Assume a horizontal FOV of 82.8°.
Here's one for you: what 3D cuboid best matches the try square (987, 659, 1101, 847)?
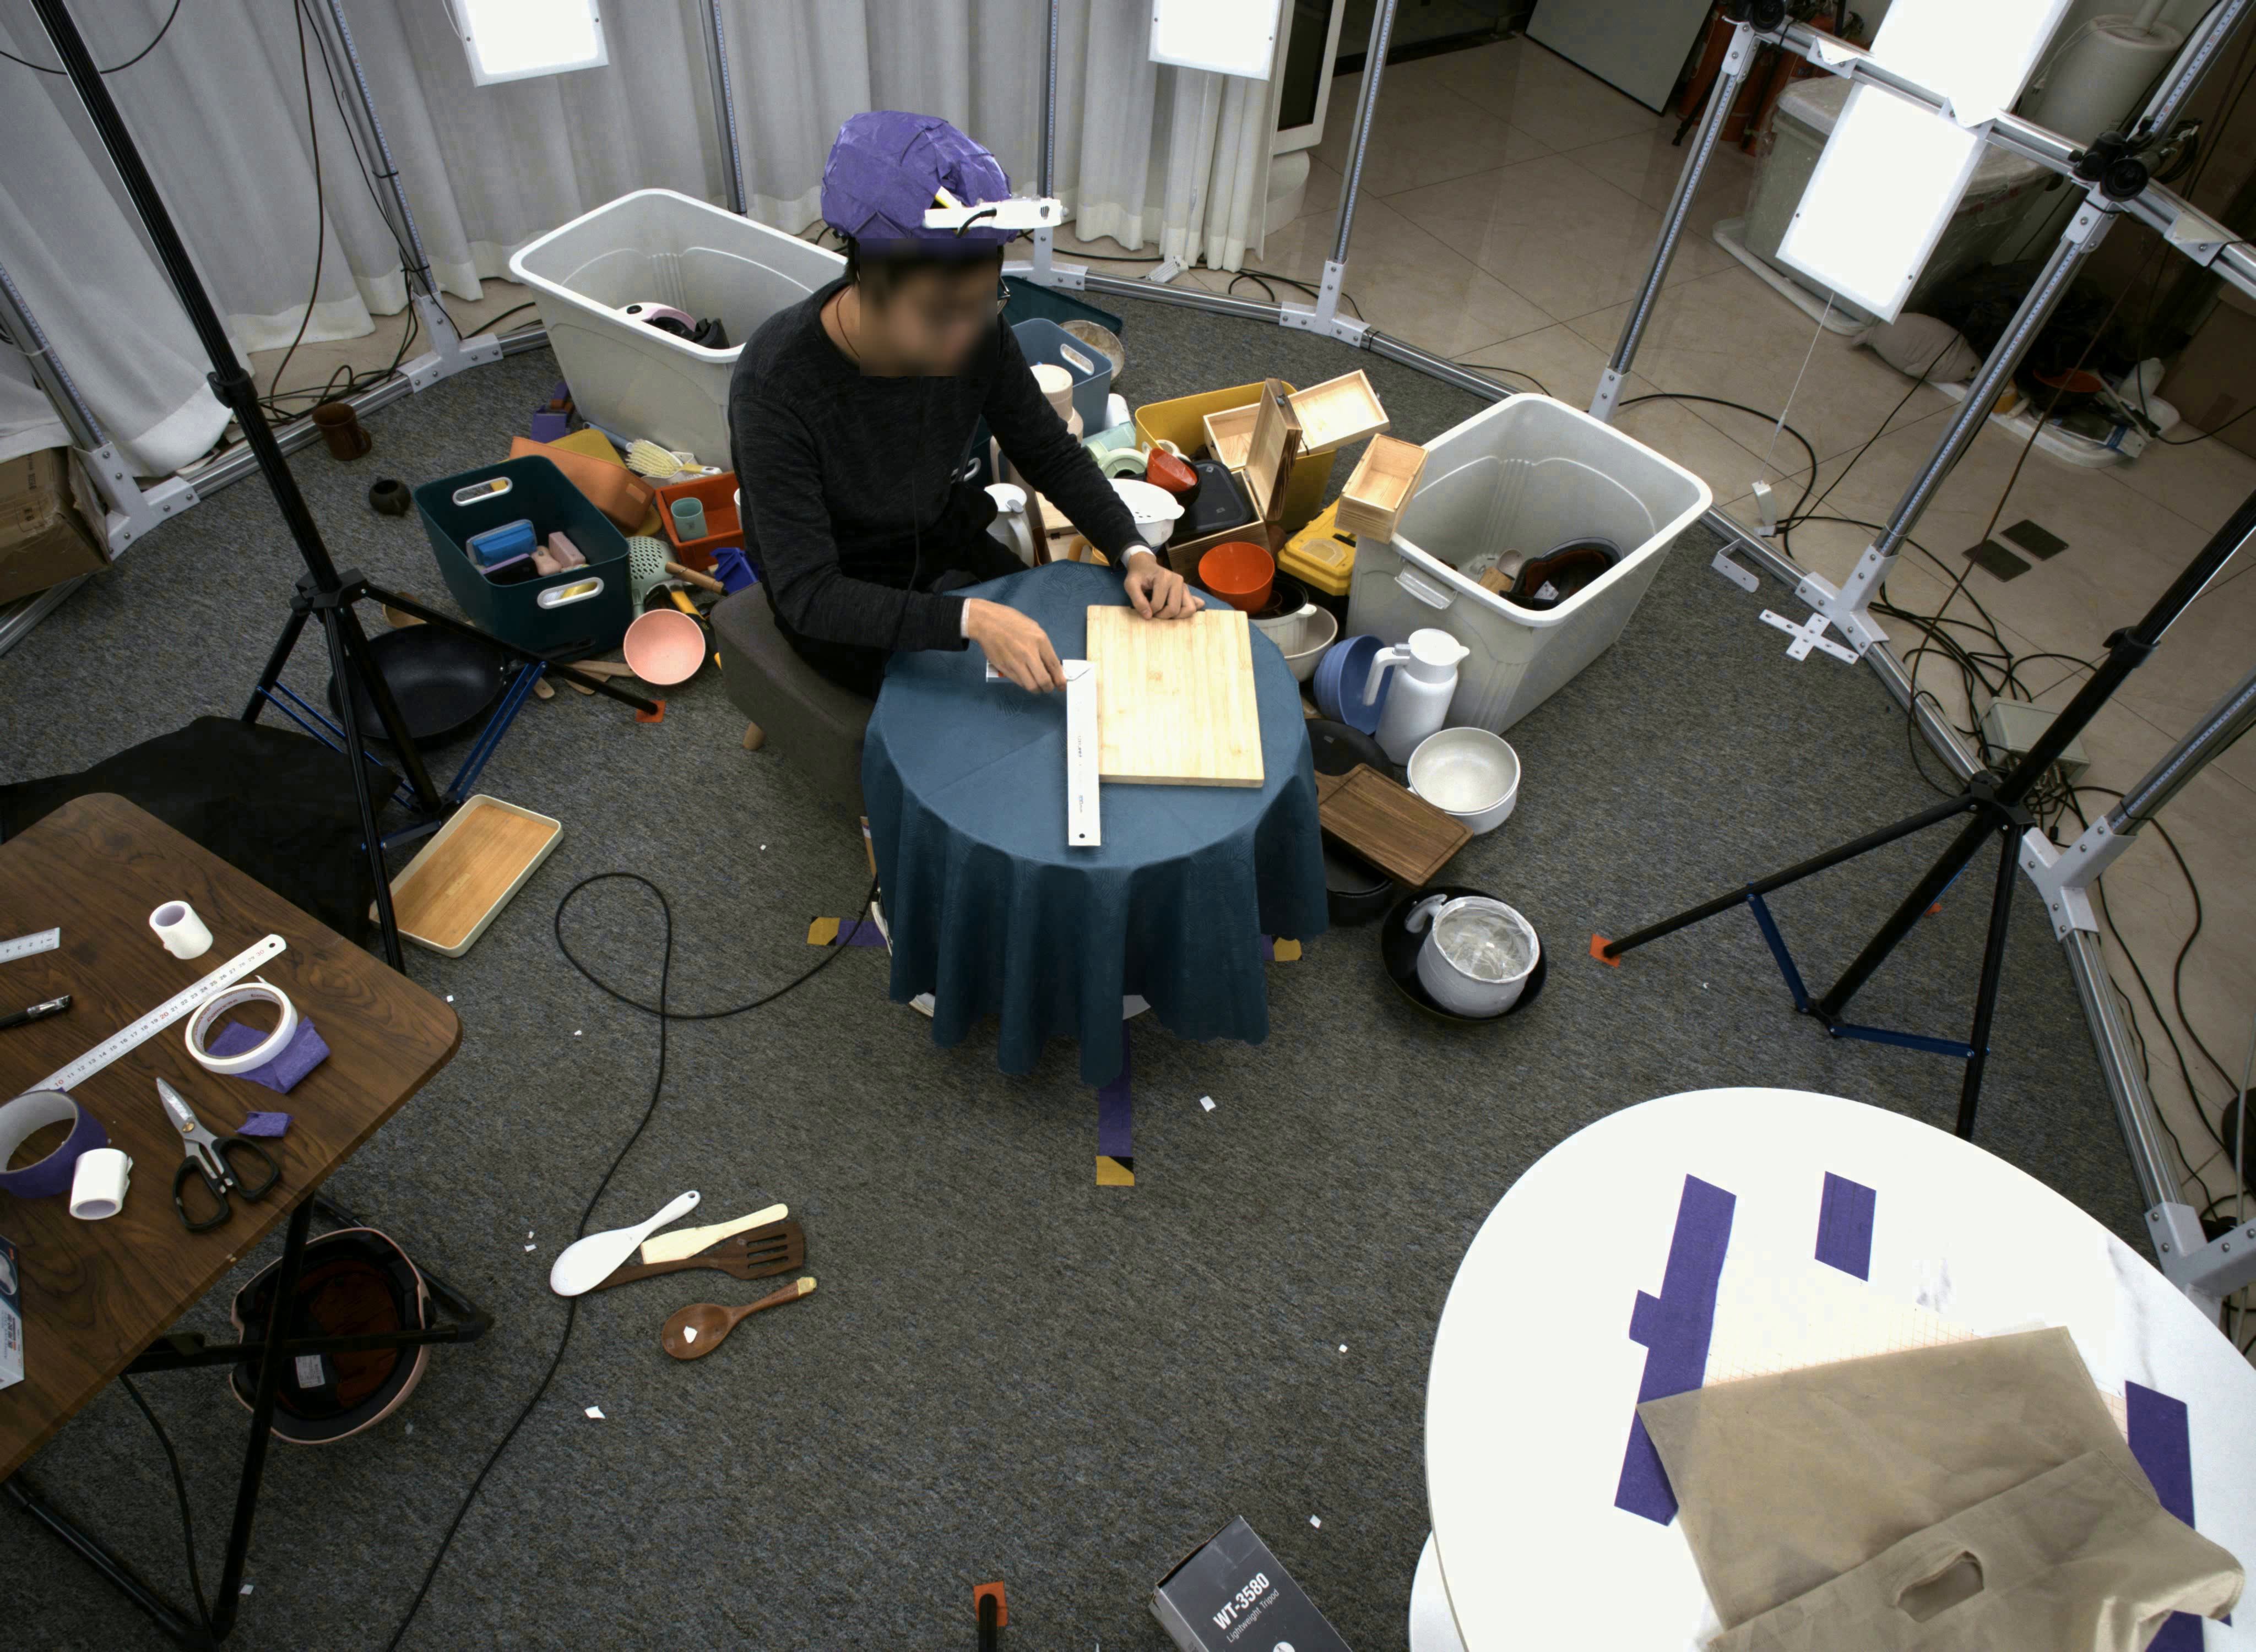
[{"bbox_3d":[-0.116,-0.103,1.711,0.152,0.015,0.320,0,54,-3],"label":"try square"}]

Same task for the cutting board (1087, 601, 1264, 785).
[{"bbox_3d":[0.061,-0.196,1.834,0.250,0.023,0.357,1,49,-3],"label":"cutting board"}]
